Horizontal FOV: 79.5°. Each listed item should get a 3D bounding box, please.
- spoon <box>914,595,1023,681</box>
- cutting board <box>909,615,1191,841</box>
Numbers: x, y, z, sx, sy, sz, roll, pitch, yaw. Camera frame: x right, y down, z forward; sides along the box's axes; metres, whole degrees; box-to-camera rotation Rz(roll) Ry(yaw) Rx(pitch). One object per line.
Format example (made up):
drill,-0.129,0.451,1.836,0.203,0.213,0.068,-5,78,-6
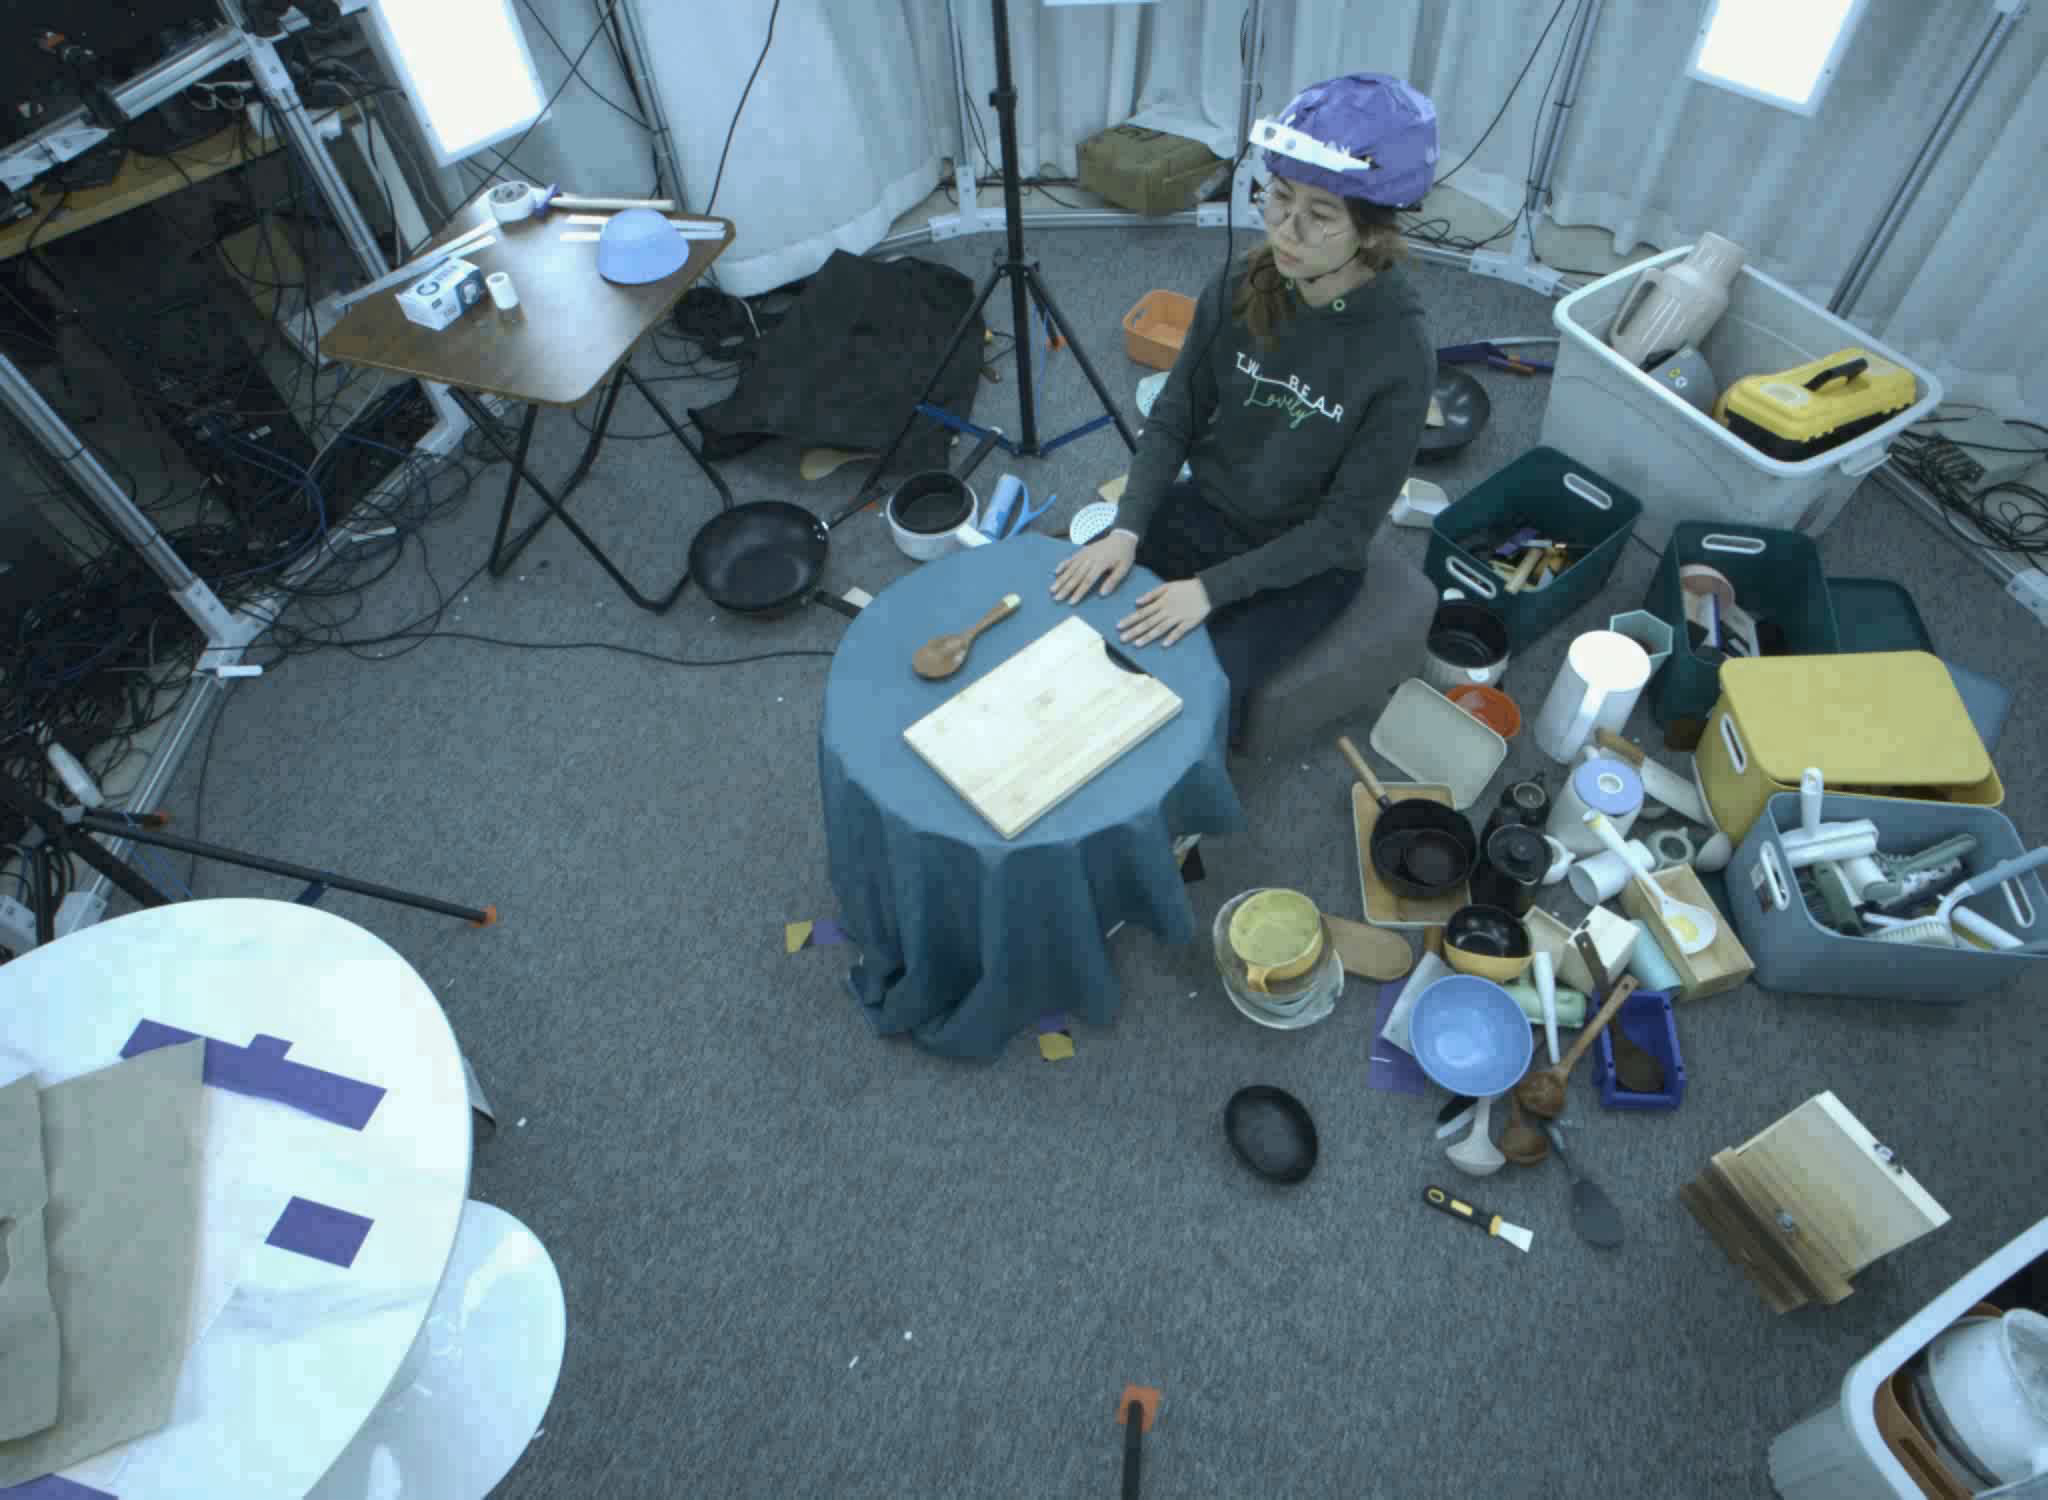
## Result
spoon,-0.082,-0.175,1.912,0.074,0.017,0.217,37,64,26
cutting board,0.037,-0.042,1.817,0.351,0.024,0.246,-37,62,-22
